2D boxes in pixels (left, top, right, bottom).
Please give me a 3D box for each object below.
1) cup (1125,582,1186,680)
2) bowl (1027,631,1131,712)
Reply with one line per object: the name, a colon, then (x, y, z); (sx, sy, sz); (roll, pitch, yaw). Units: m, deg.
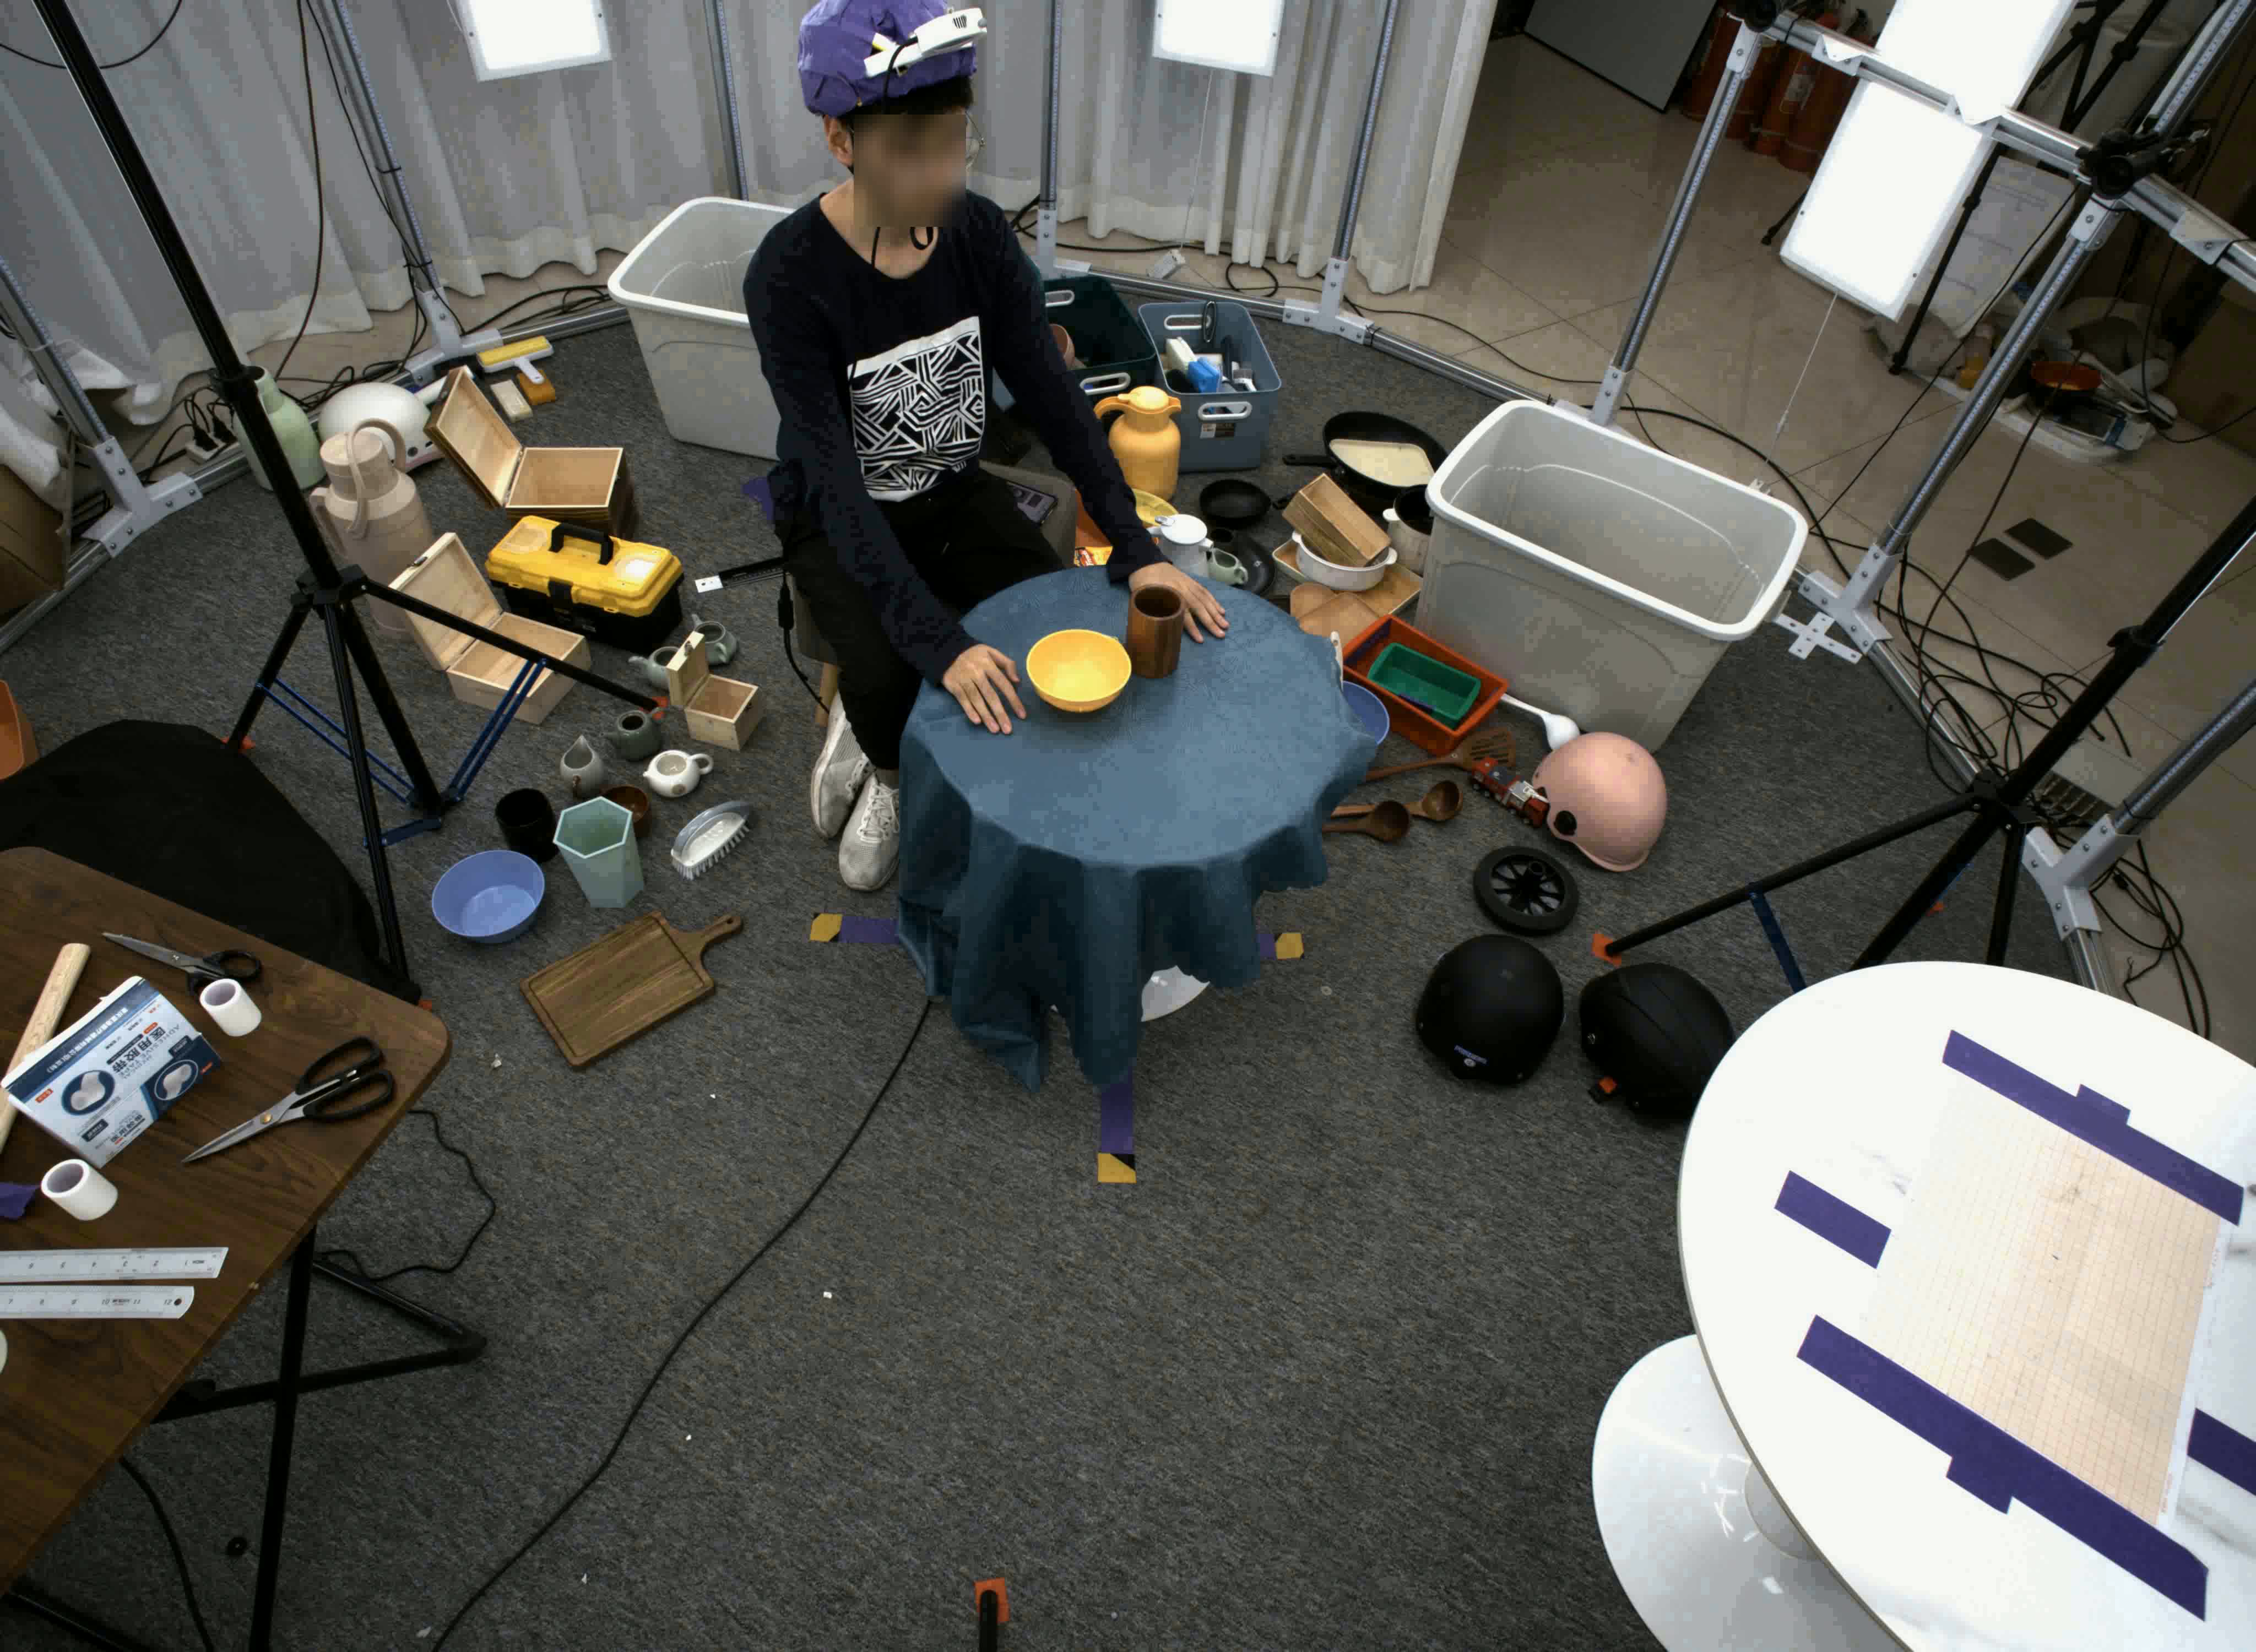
cup: (0.037, -0.279, 1.838); (0.087, 0.115, 0.090); (2, 47, -3)
bowl: (-0.070, -0.205, 1.802); (0.145, 0.058, 0.149); (2, 48, -2)
